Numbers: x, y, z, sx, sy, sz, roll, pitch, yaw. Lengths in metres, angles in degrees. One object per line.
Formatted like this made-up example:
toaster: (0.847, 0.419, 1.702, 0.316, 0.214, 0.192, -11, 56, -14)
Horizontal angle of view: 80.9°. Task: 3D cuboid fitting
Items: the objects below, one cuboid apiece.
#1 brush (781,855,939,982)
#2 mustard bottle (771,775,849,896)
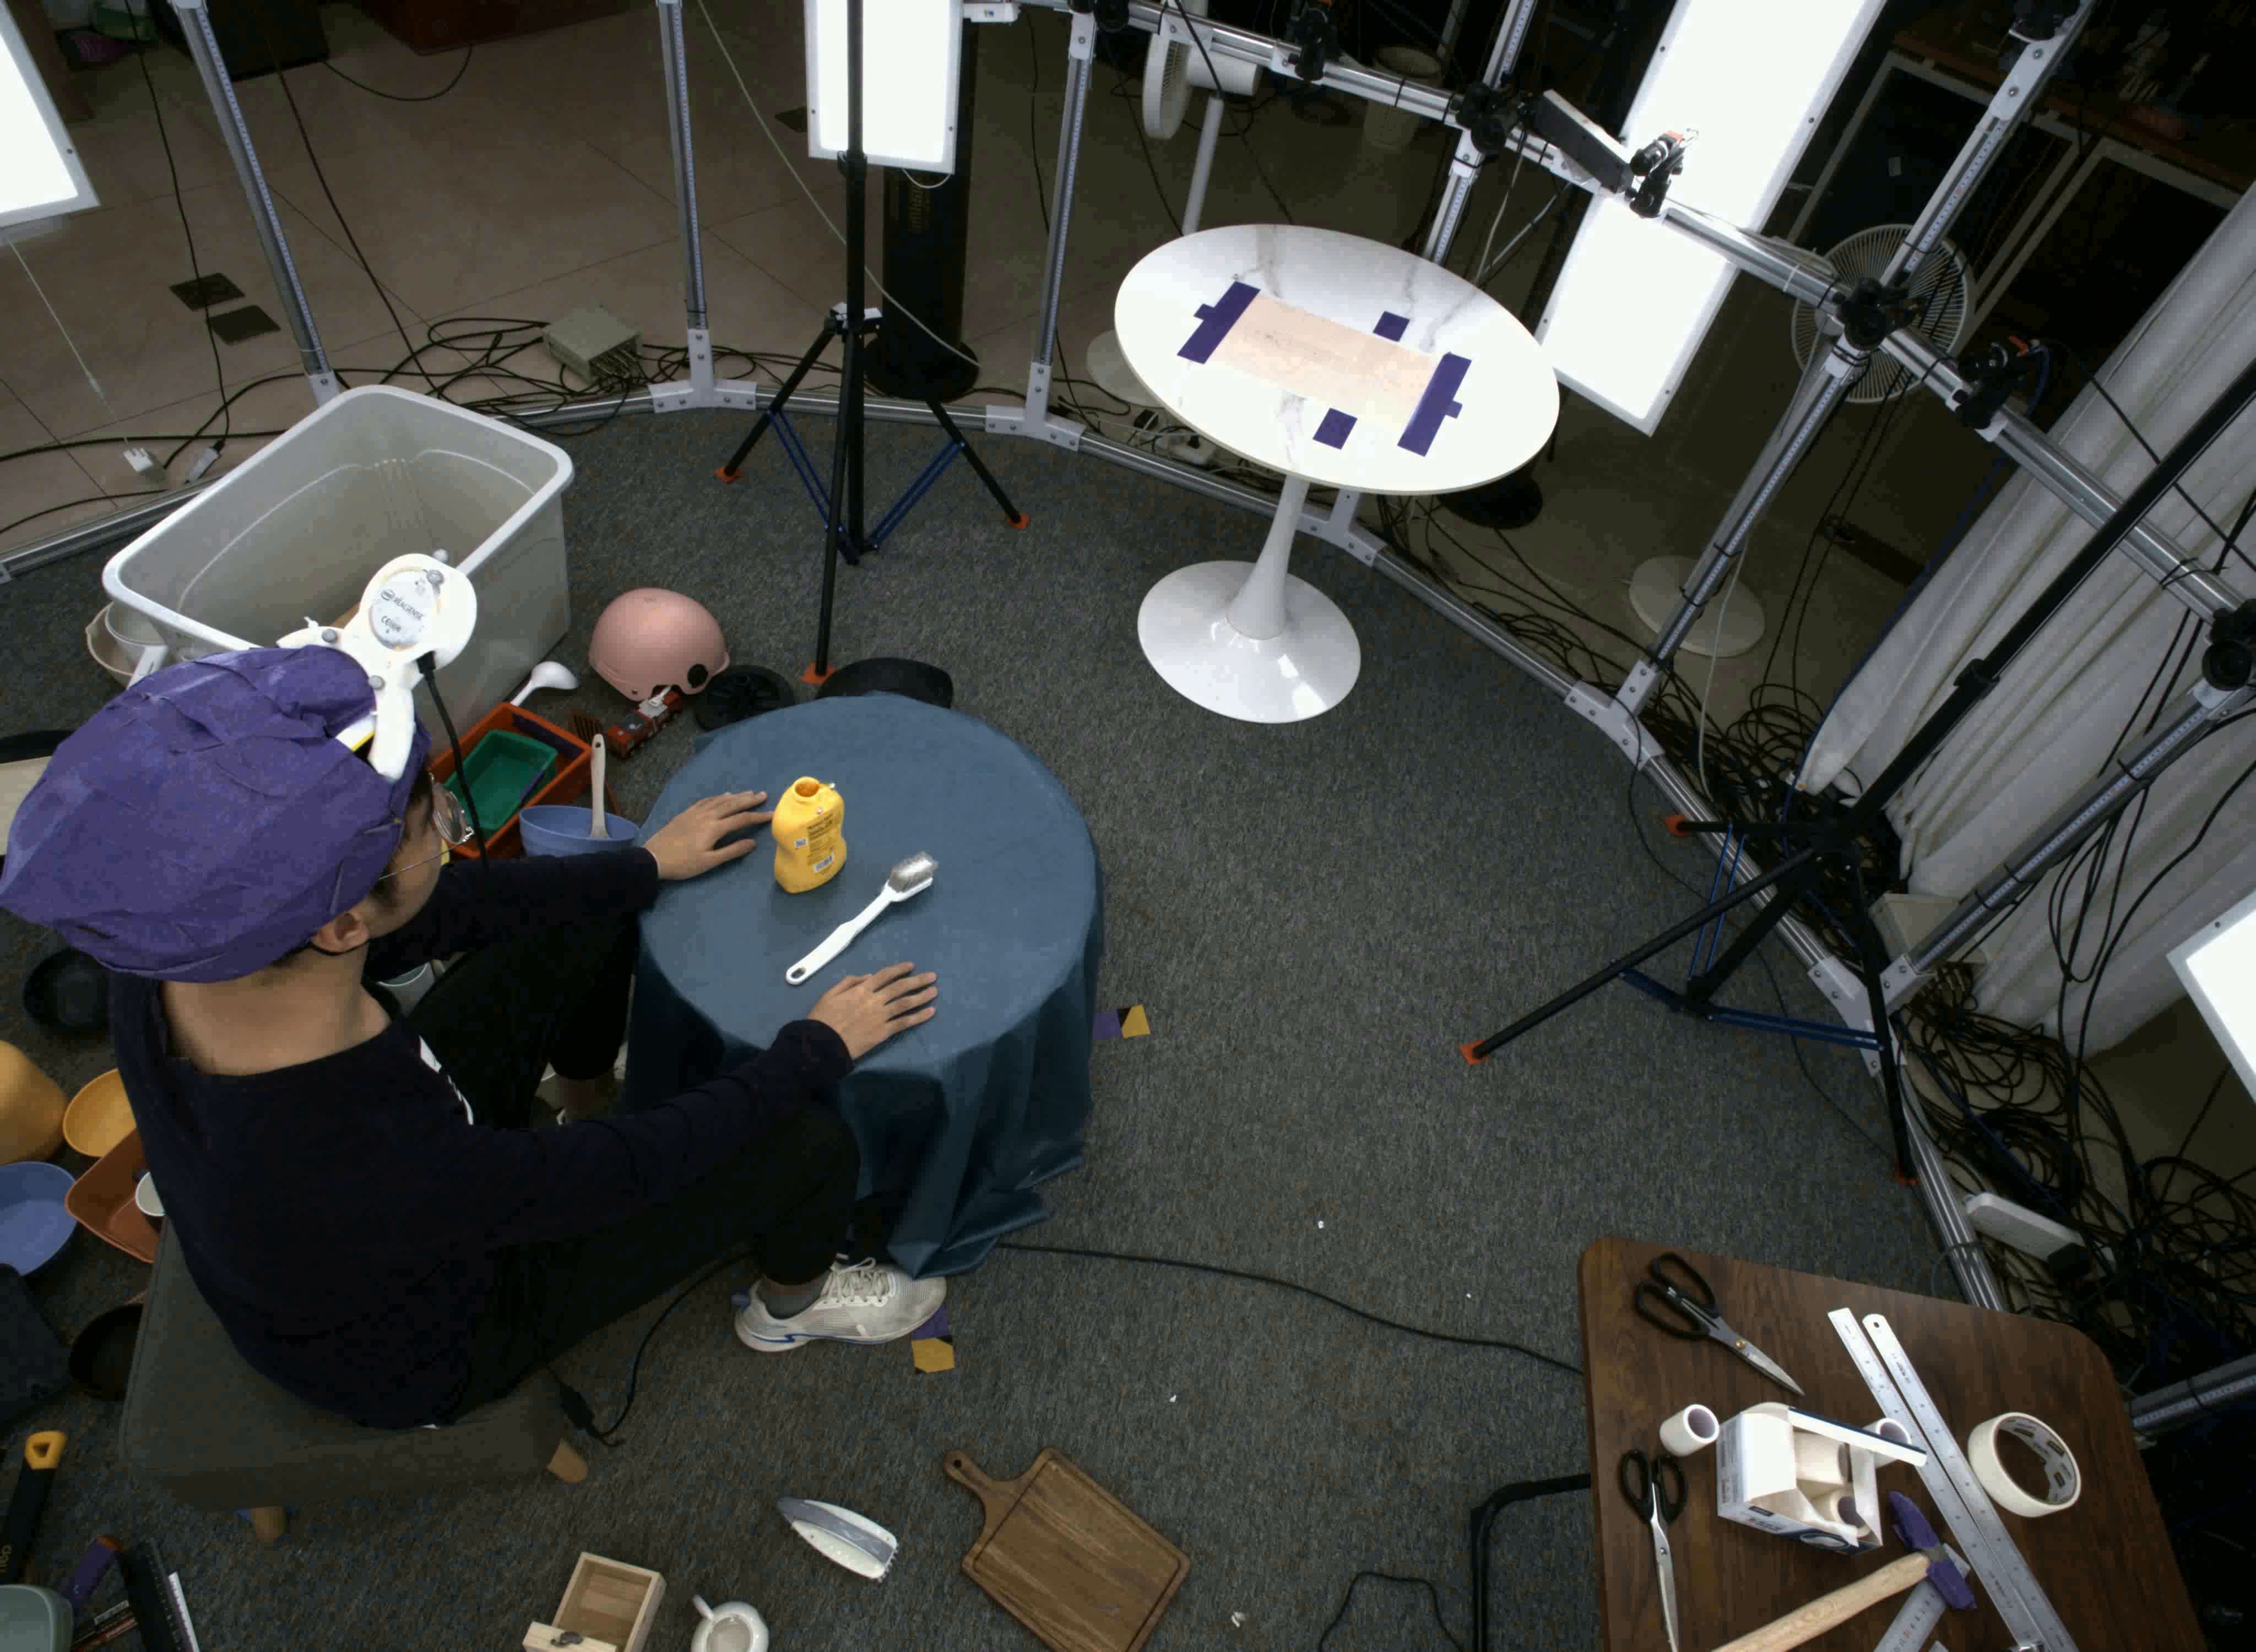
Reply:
brush: (-0.336, 0.110, 1.635, 0.034, 0.051, 0.244, 43, 56, 16)
mustard bottle: (-0.399, 0.006, 1.618, 0.058, 0.176, 0.098, 35, 56, 20)
